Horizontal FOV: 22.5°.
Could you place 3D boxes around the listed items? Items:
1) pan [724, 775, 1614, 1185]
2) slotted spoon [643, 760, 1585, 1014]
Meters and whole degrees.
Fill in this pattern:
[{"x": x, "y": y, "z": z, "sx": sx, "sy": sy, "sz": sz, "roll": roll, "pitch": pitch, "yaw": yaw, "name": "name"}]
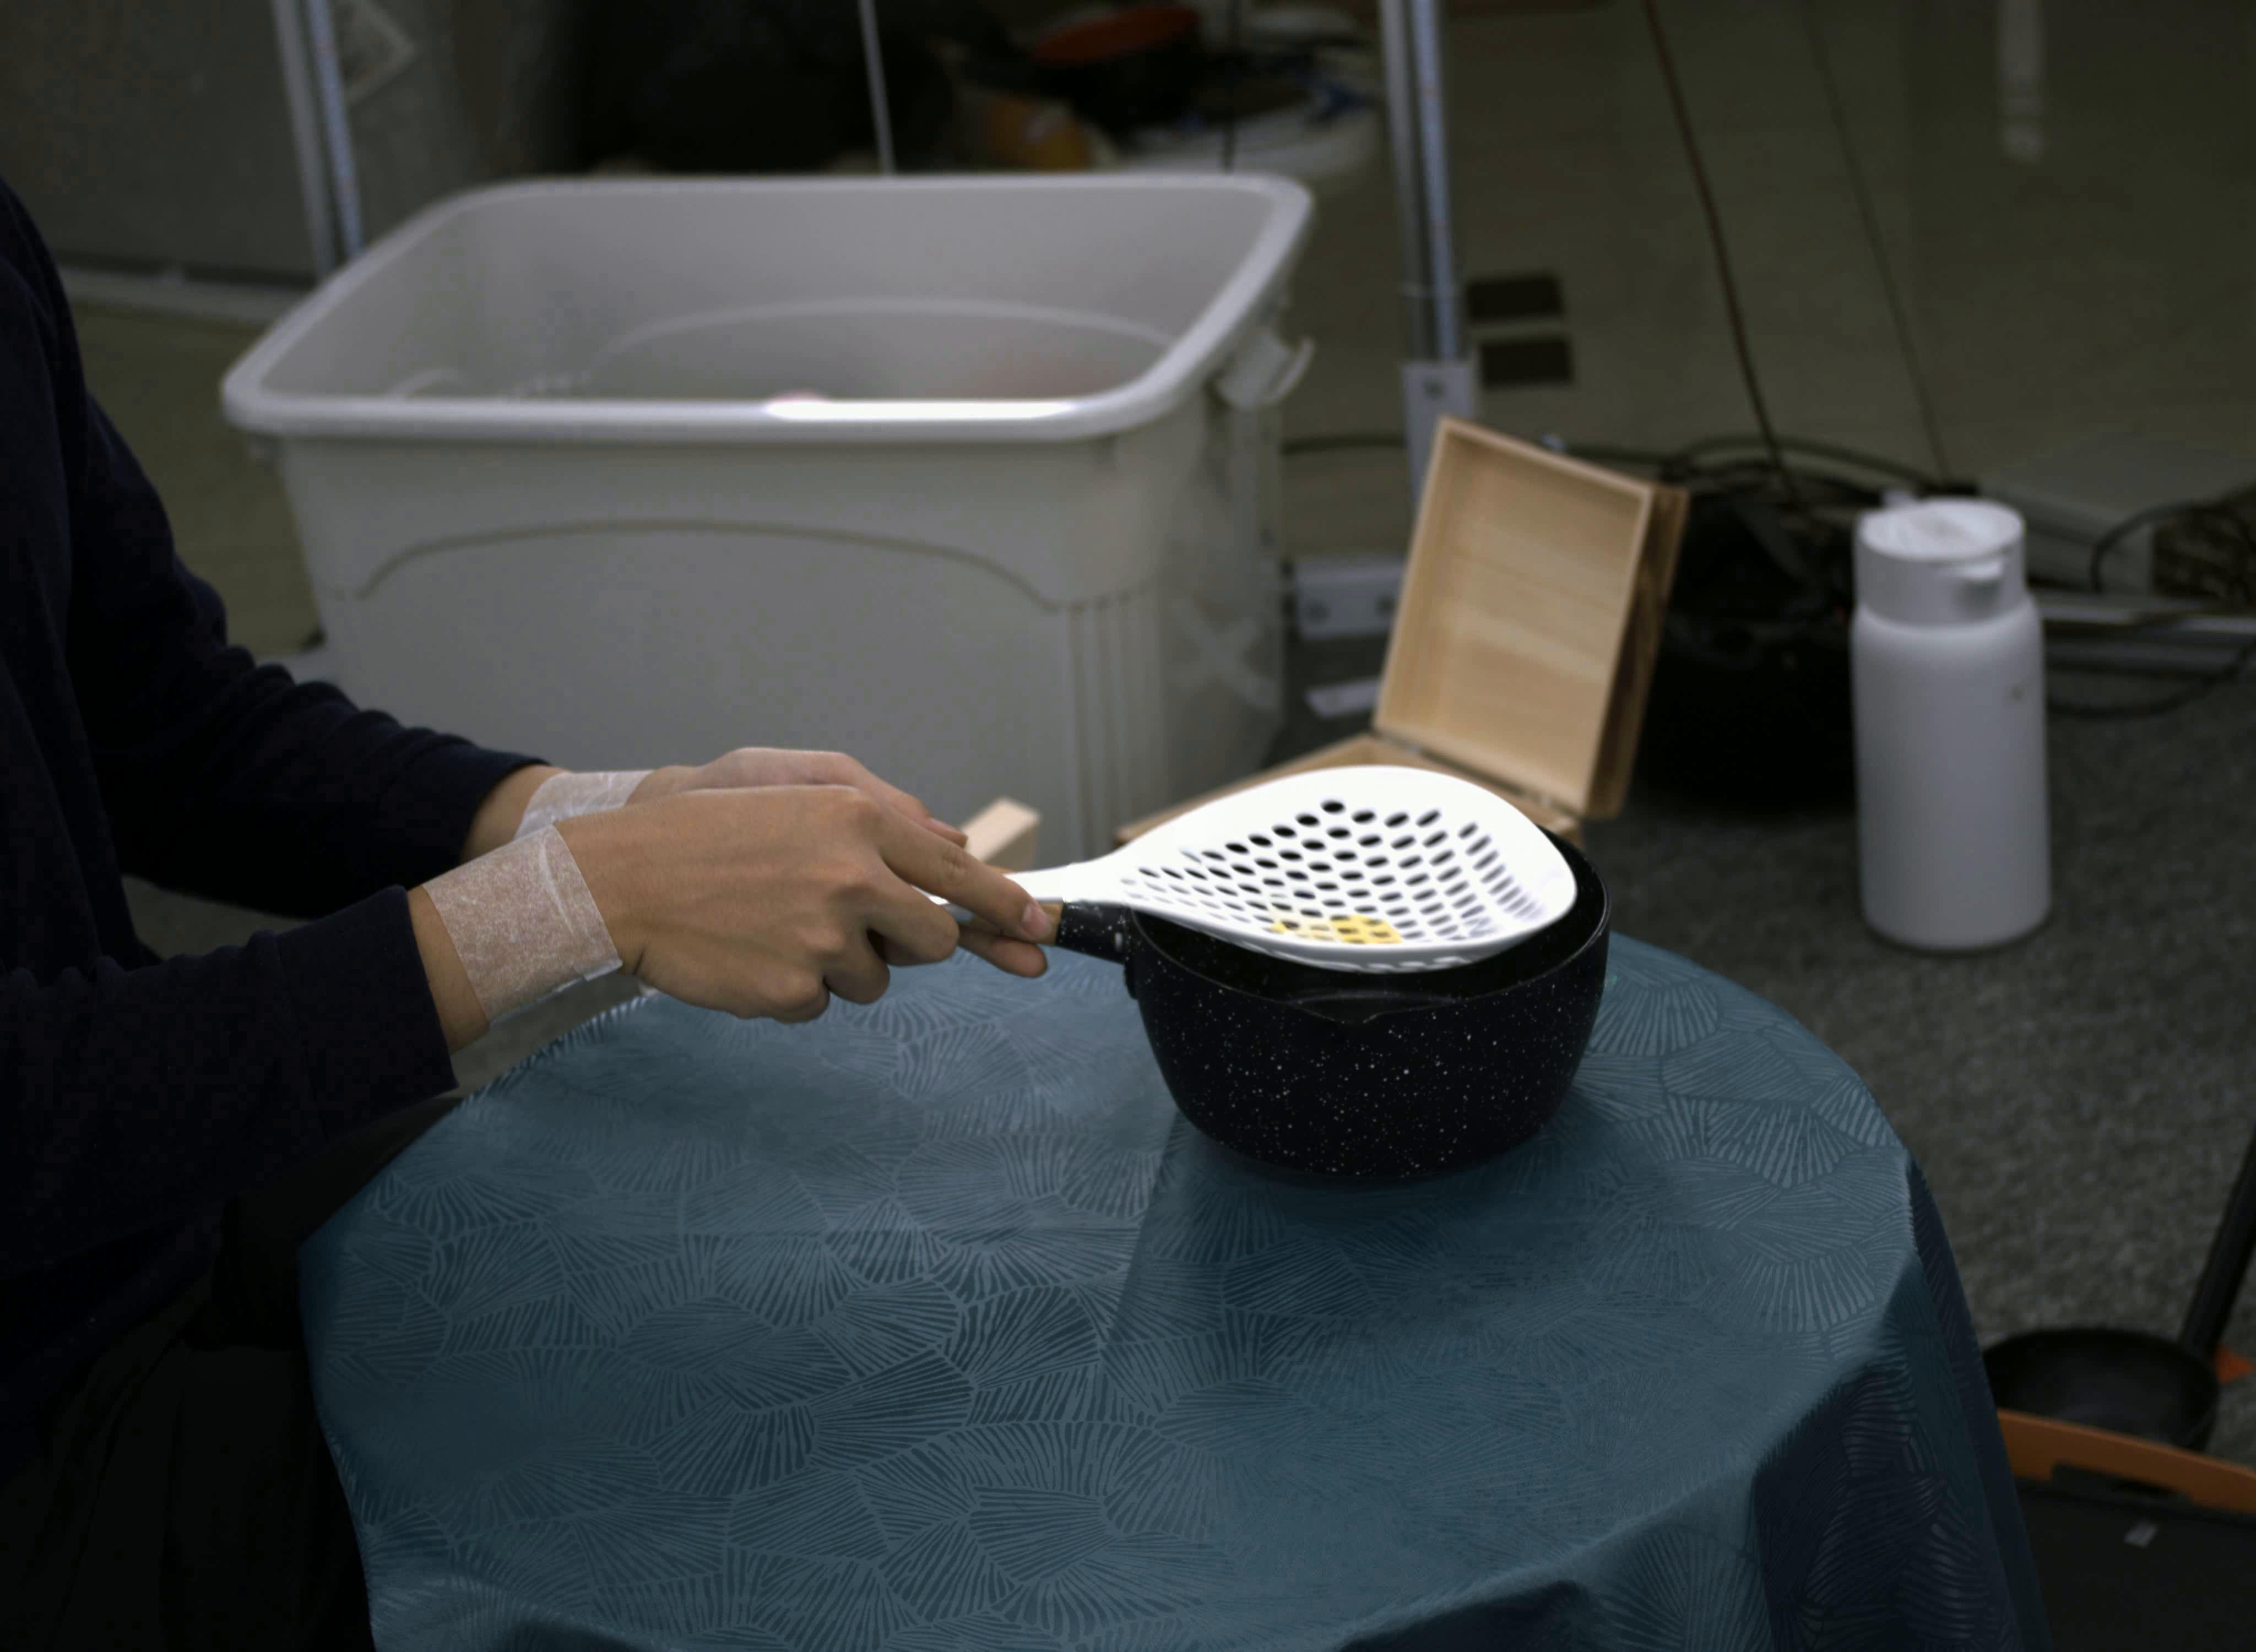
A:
[{"x": 0.013, "y": 0.050, "z": 2.174, "sx": 0.342, "sy": 0.110, "sz": 0.204, "roll": 3, "pitch": 28, "yaw": 5, "name": "pan"}, {"x": -0.005, "y": 0.032, "z": 2.025, "sx": 0.347, "sy": 0.051, "sz": 0.135, "roll": -2, "pitch": 30, "yaw": -22, "name": "slotted spoon"}]
